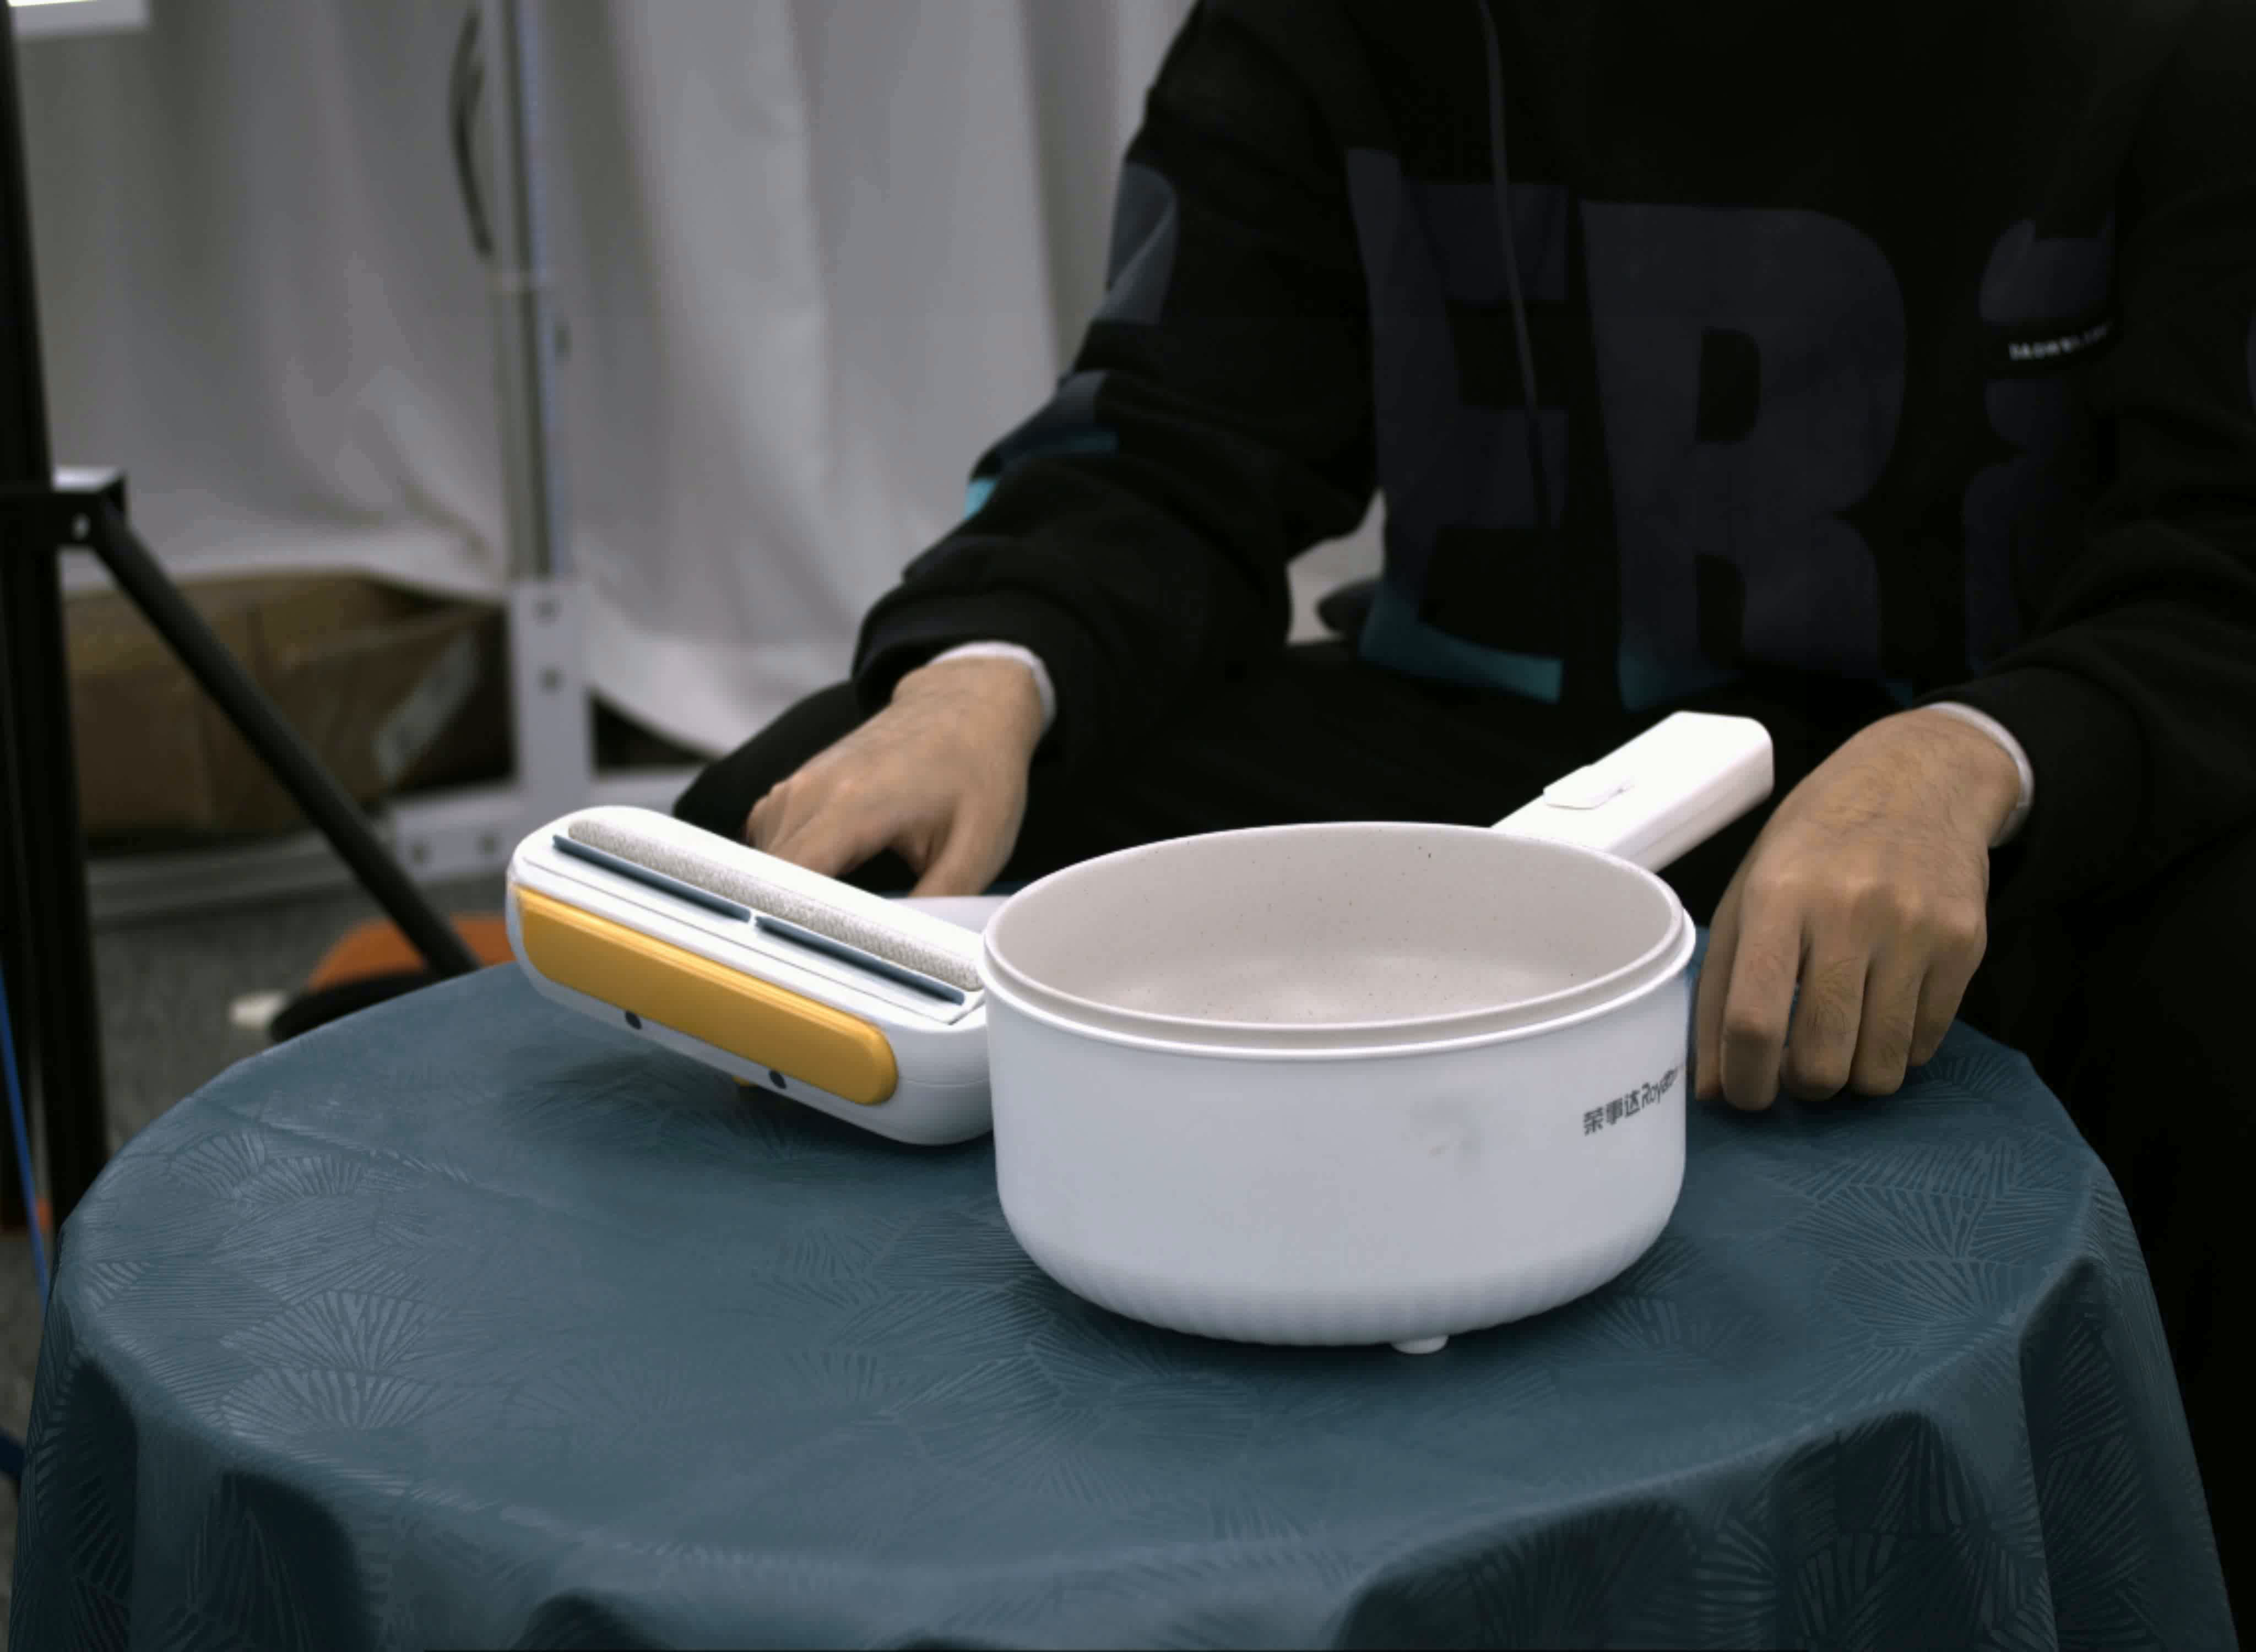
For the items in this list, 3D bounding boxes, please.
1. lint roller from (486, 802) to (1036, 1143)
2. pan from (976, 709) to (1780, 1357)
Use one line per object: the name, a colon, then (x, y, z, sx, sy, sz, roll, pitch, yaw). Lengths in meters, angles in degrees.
lint roller: (-0.080, 0.038, 1.695, 0.197, 0.074, 0.188, 16, 22, 37)
pan: (0.098, 0.054, 1.544, 0.205, 0.102, 0.348, 7, 18, 31)
